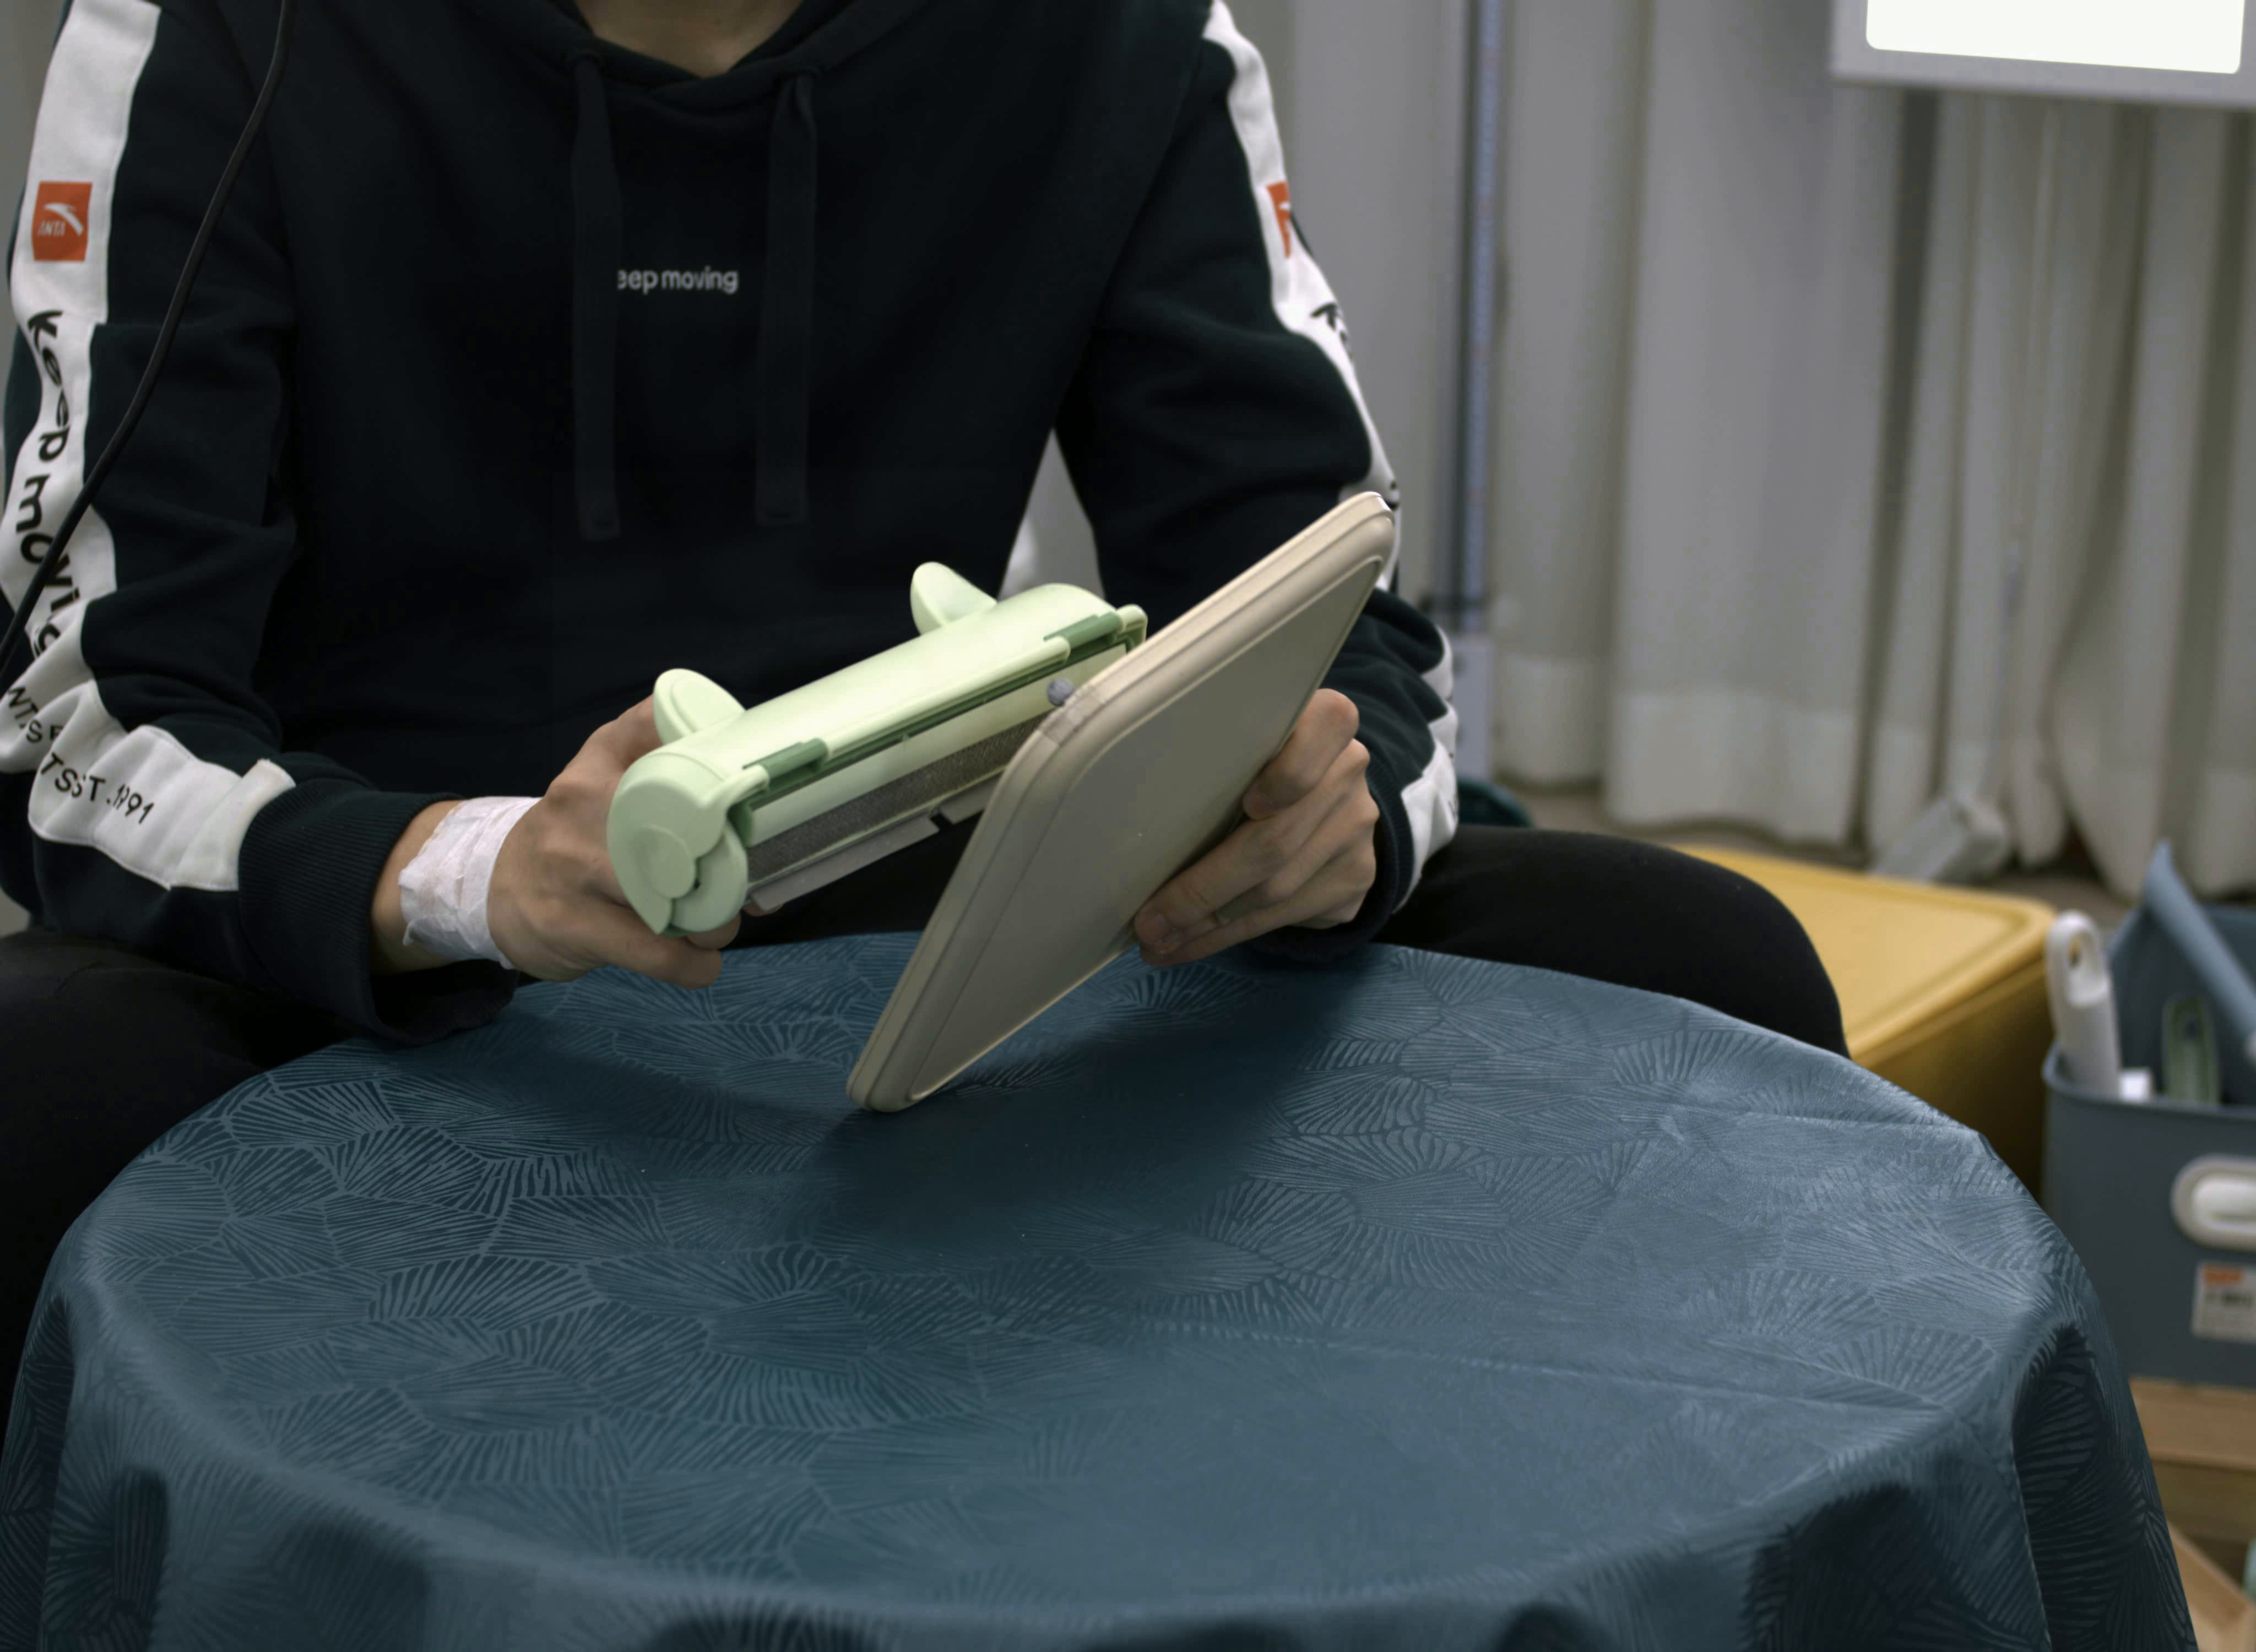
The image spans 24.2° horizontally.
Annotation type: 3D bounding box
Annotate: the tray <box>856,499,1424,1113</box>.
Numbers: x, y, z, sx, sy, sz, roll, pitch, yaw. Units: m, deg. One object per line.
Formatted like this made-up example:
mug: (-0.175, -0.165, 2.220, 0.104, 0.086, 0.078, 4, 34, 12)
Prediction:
tray: (0.005, -0.001, 1.639, 0.017, 0.240, 0.171, 46, 54, 12)

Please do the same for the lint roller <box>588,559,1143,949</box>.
lint roller: (-0.115, -0.017, 1.606, 0.182, 0.082, 0.199, -16, 7, 43)
